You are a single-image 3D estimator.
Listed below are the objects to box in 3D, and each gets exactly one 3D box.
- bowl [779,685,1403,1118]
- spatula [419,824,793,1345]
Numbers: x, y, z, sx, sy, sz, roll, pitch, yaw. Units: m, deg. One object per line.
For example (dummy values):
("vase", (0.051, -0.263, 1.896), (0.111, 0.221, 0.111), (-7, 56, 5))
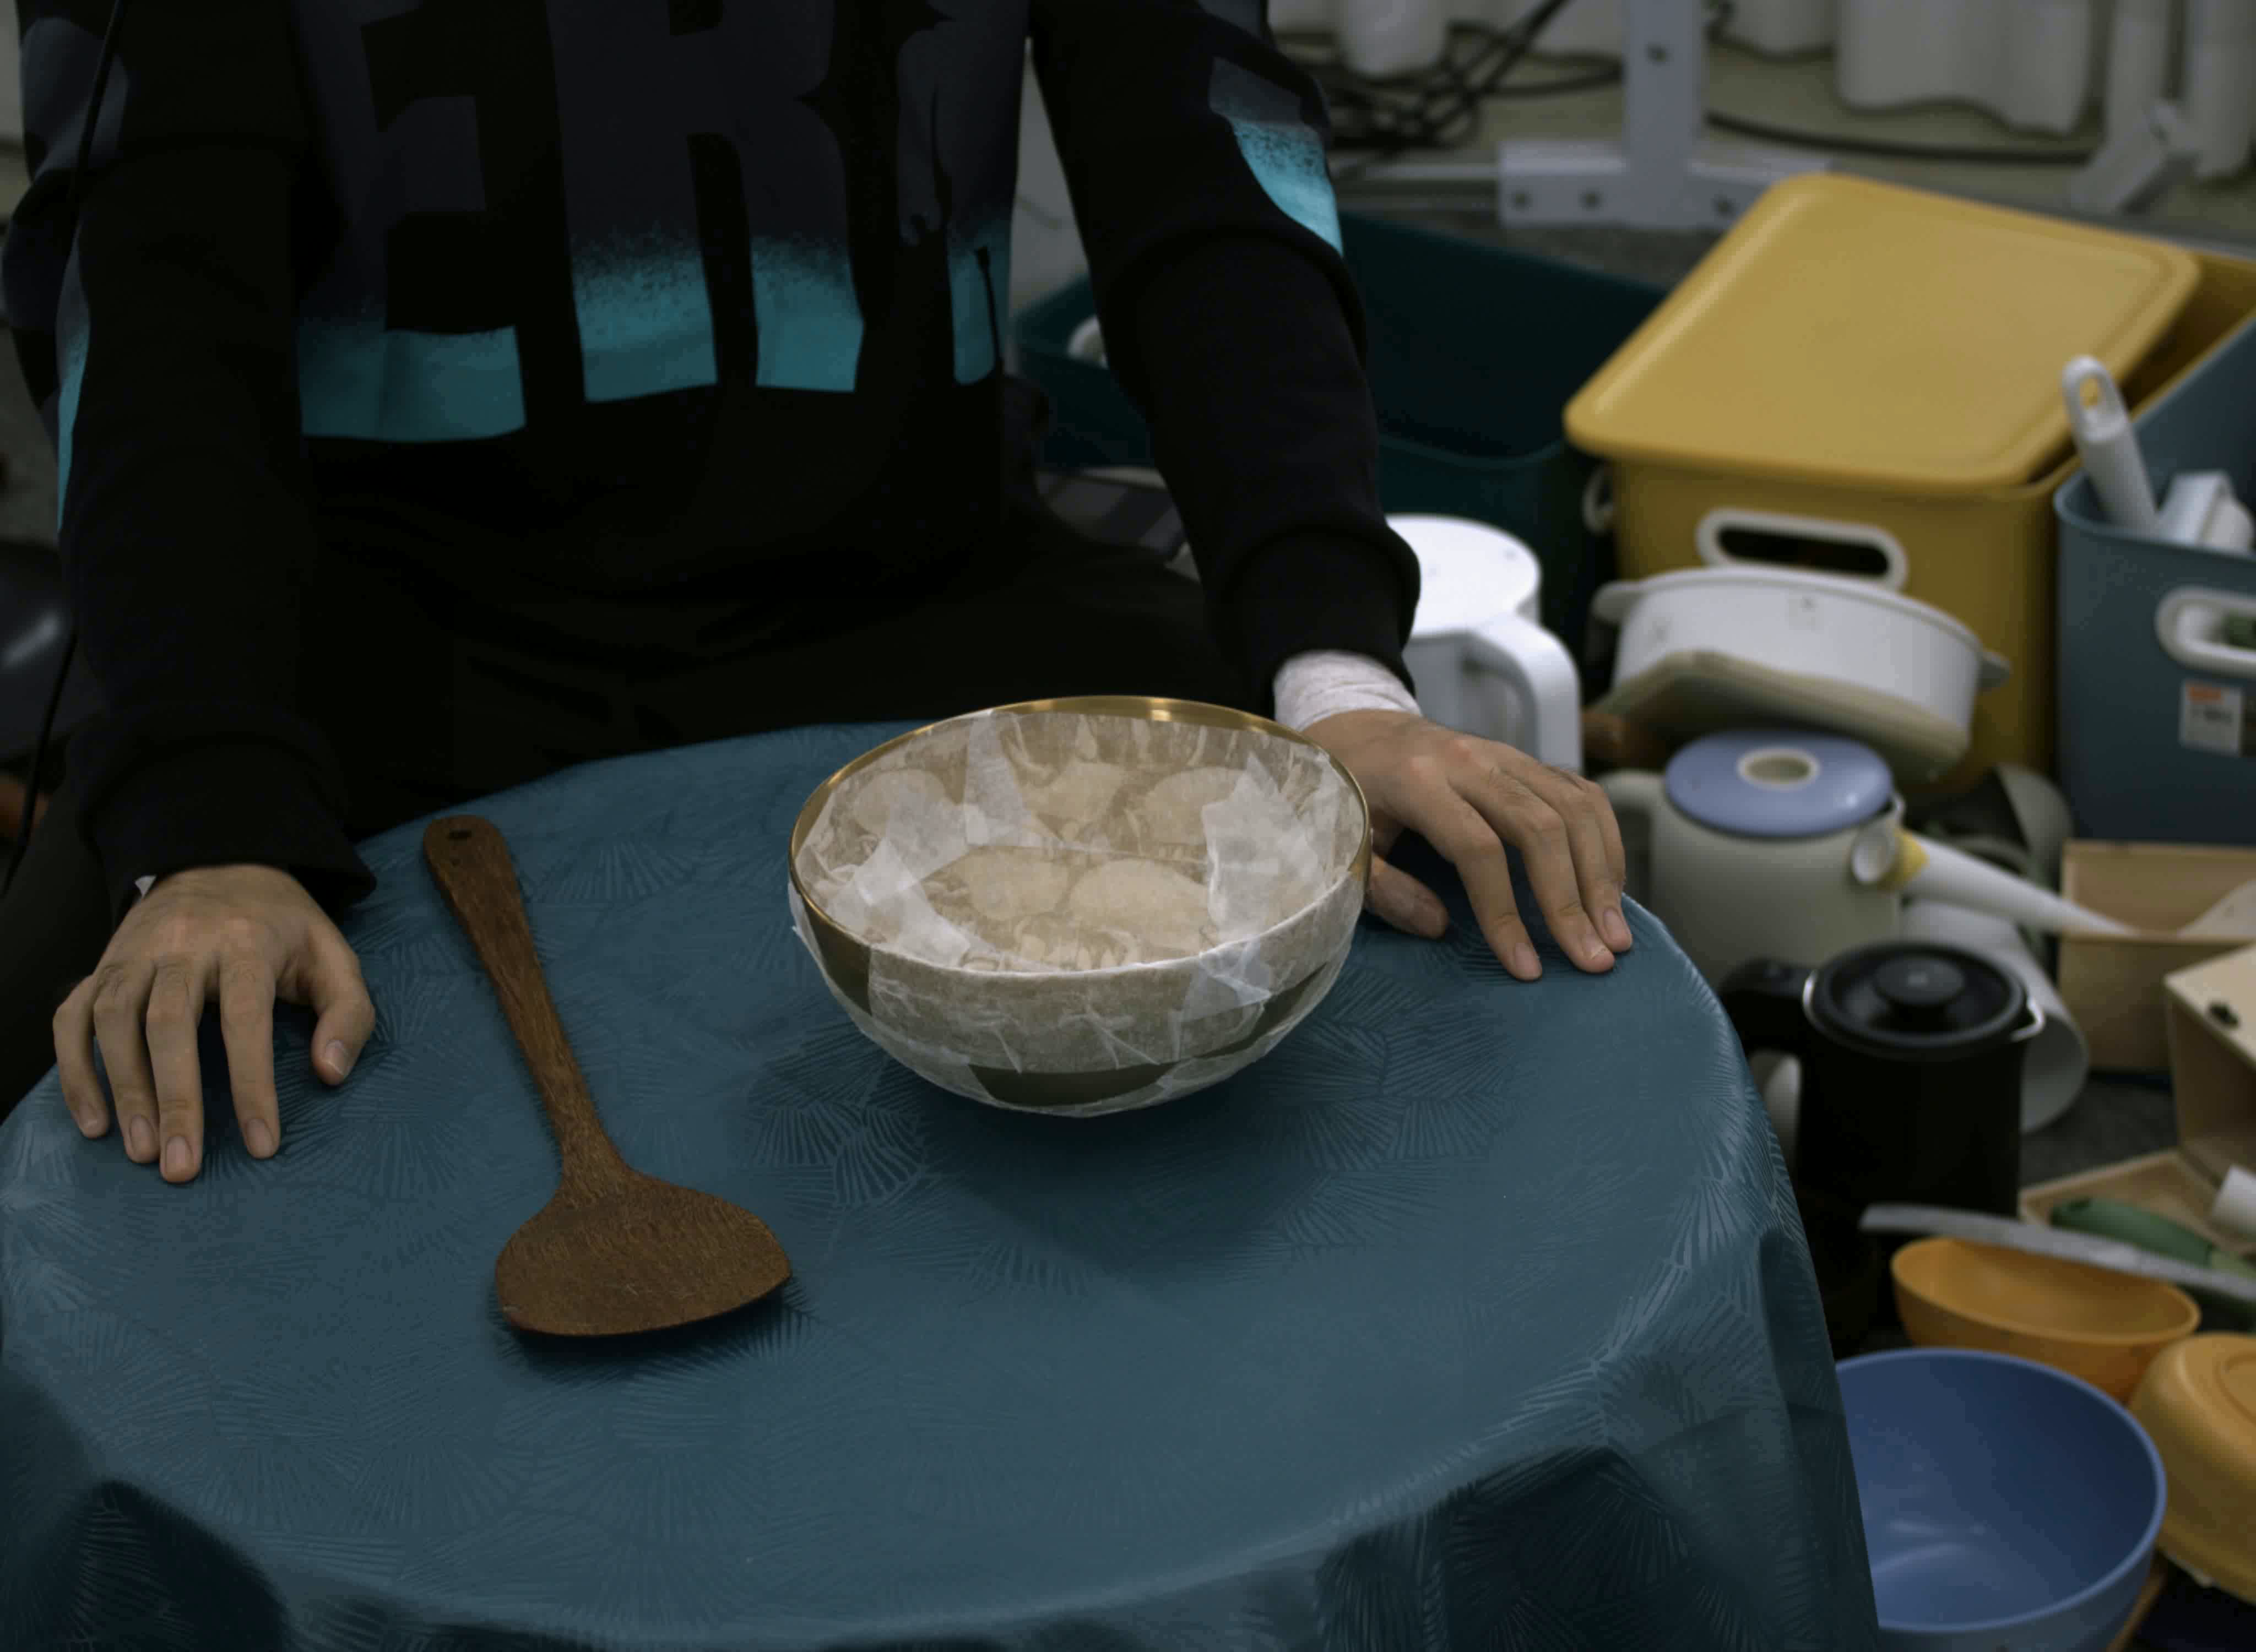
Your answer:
("bowl", (-0.011, 0.038, 1.923), (0.213, 0.093, 0.218), (-4, 27, 2))
("spatula", (-0.201, 0.081, 1.946), (0.096, 0.015, 0.390), (-9, 28, -14))
